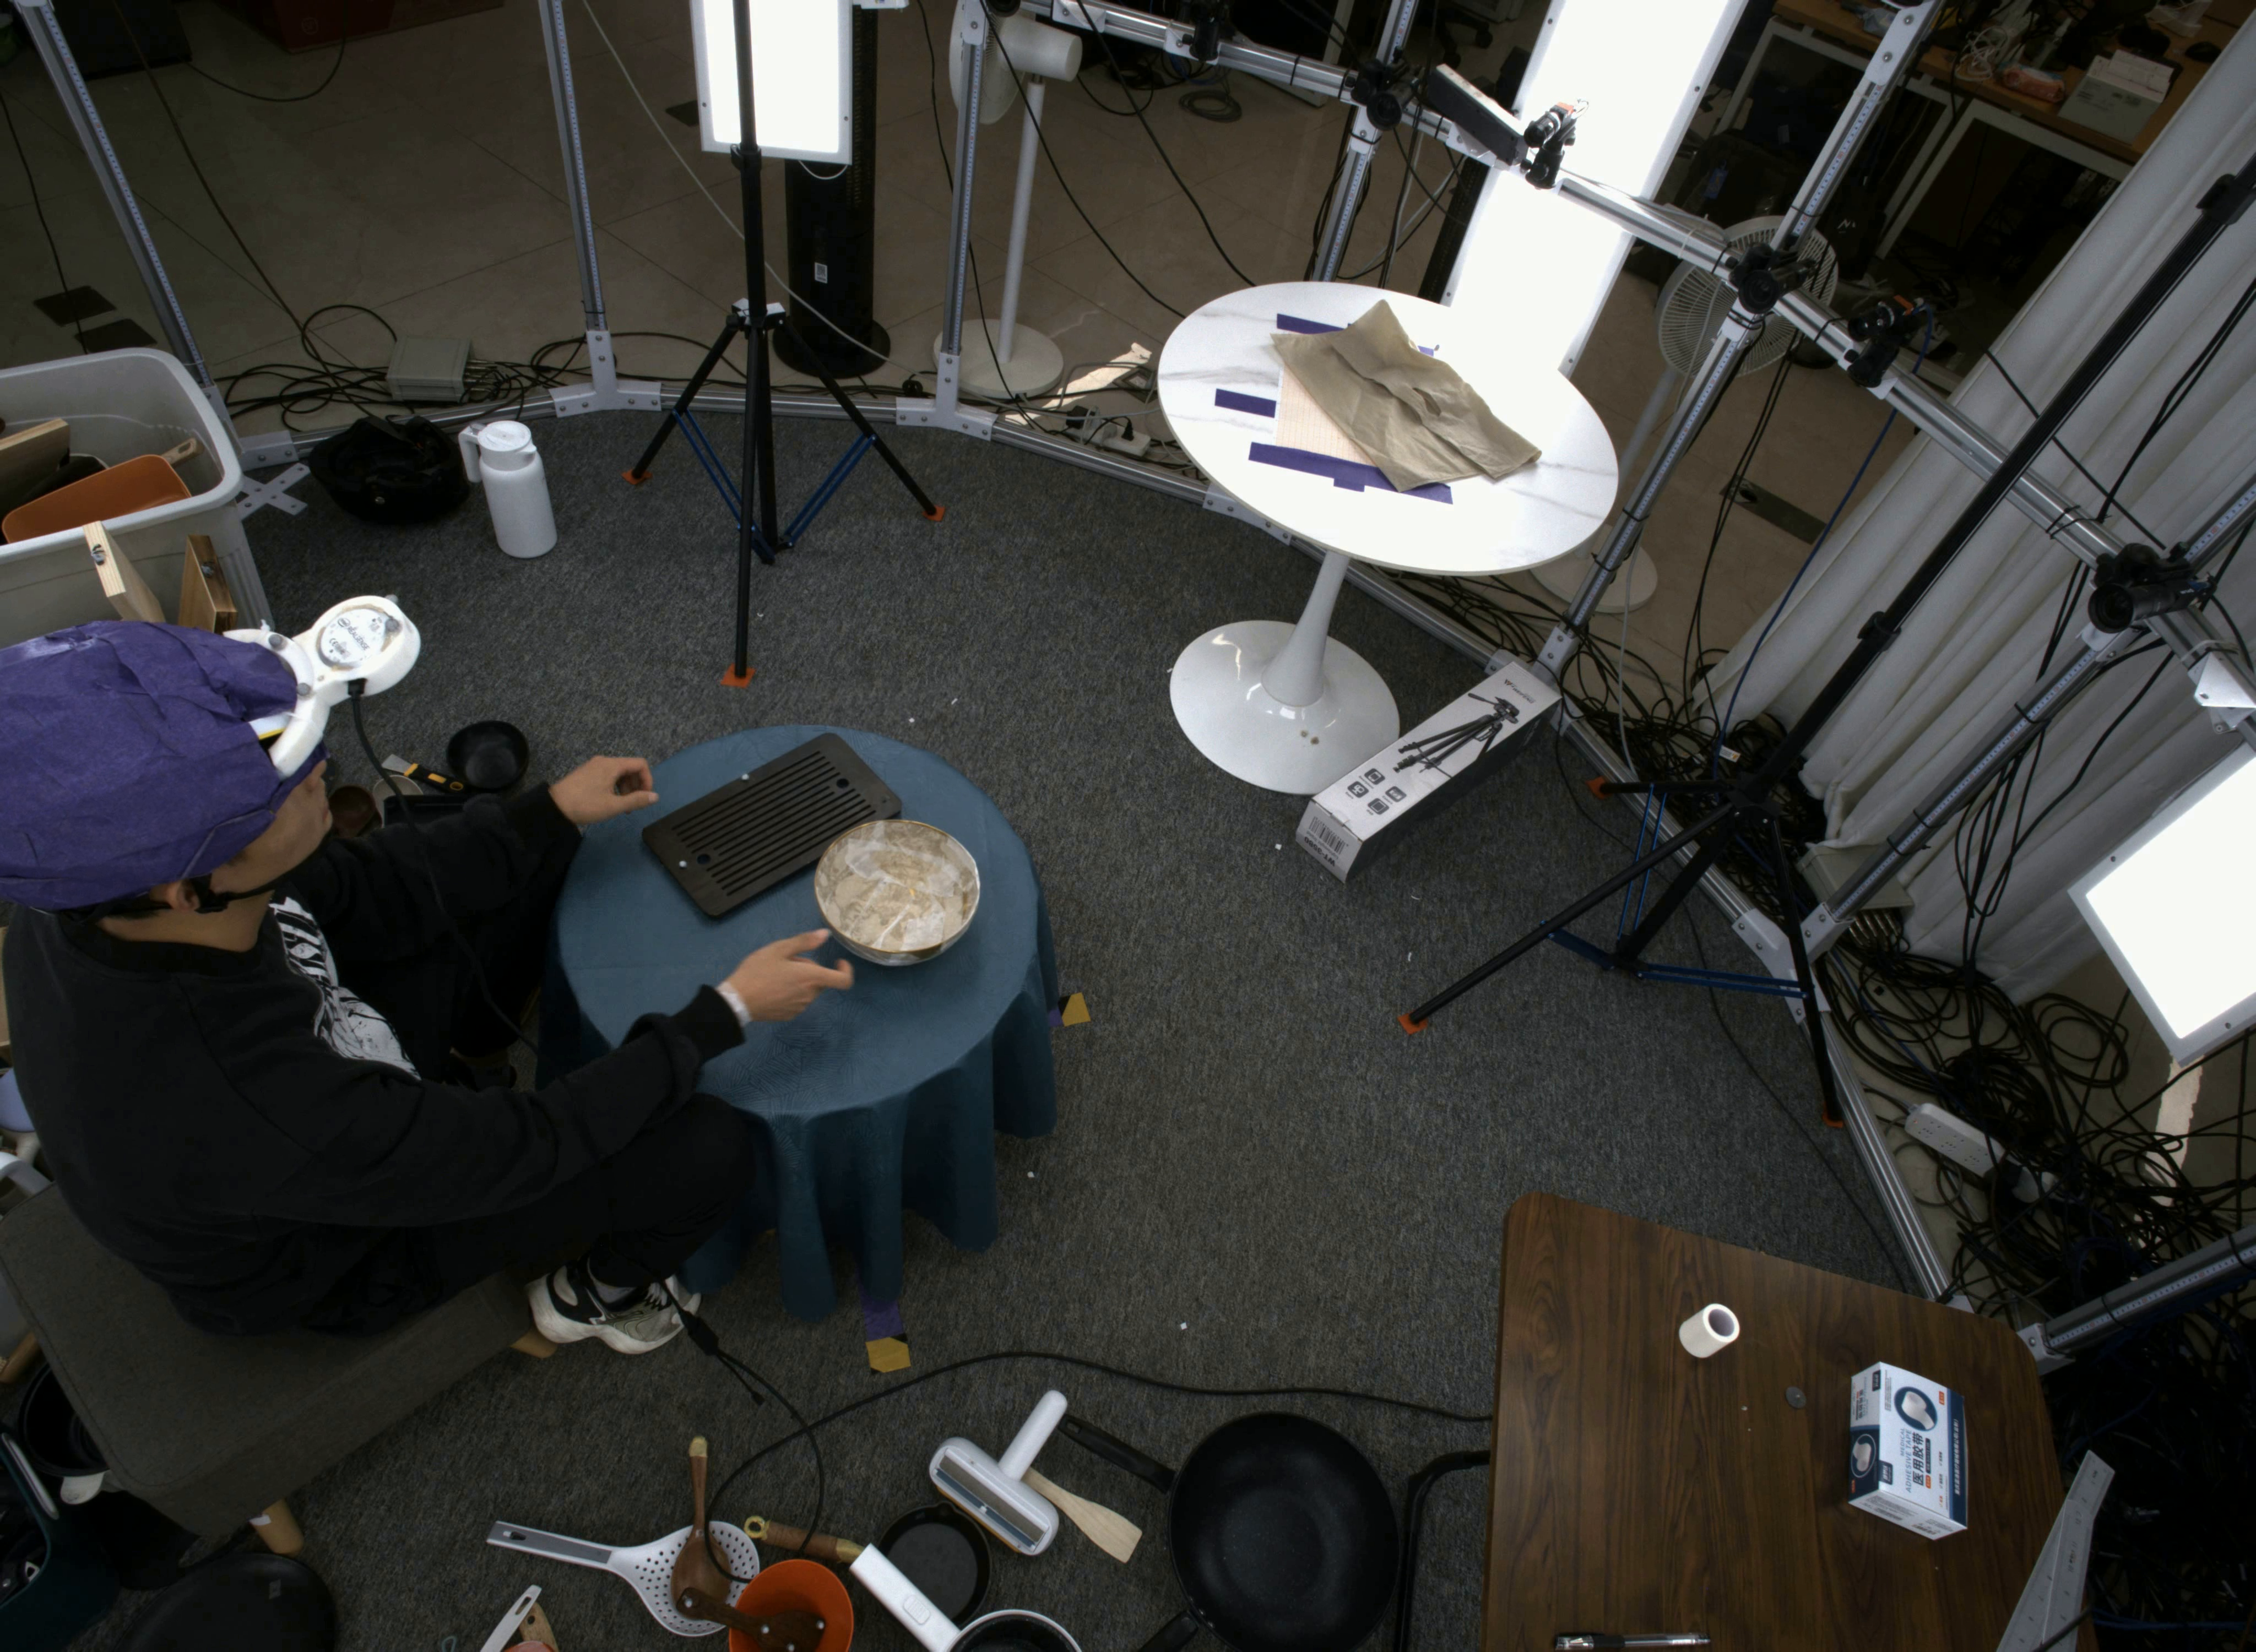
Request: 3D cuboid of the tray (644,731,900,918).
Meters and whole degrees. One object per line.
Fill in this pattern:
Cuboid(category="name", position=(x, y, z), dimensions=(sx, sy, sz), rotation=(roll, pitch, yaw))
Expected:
Cuboid(category="tray", position=(-0.468, -0.008, 1.712), dimensions=(0.307, 0.019, 0.166), rotation=(-34, 68, -32))

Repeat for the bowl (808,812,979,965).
Cuboid(category="bowl", position=(-0.294, 0.092, 1.634), dimensions=(0.214, 0.096, 0.211), rotation=(7, 53, -8))
